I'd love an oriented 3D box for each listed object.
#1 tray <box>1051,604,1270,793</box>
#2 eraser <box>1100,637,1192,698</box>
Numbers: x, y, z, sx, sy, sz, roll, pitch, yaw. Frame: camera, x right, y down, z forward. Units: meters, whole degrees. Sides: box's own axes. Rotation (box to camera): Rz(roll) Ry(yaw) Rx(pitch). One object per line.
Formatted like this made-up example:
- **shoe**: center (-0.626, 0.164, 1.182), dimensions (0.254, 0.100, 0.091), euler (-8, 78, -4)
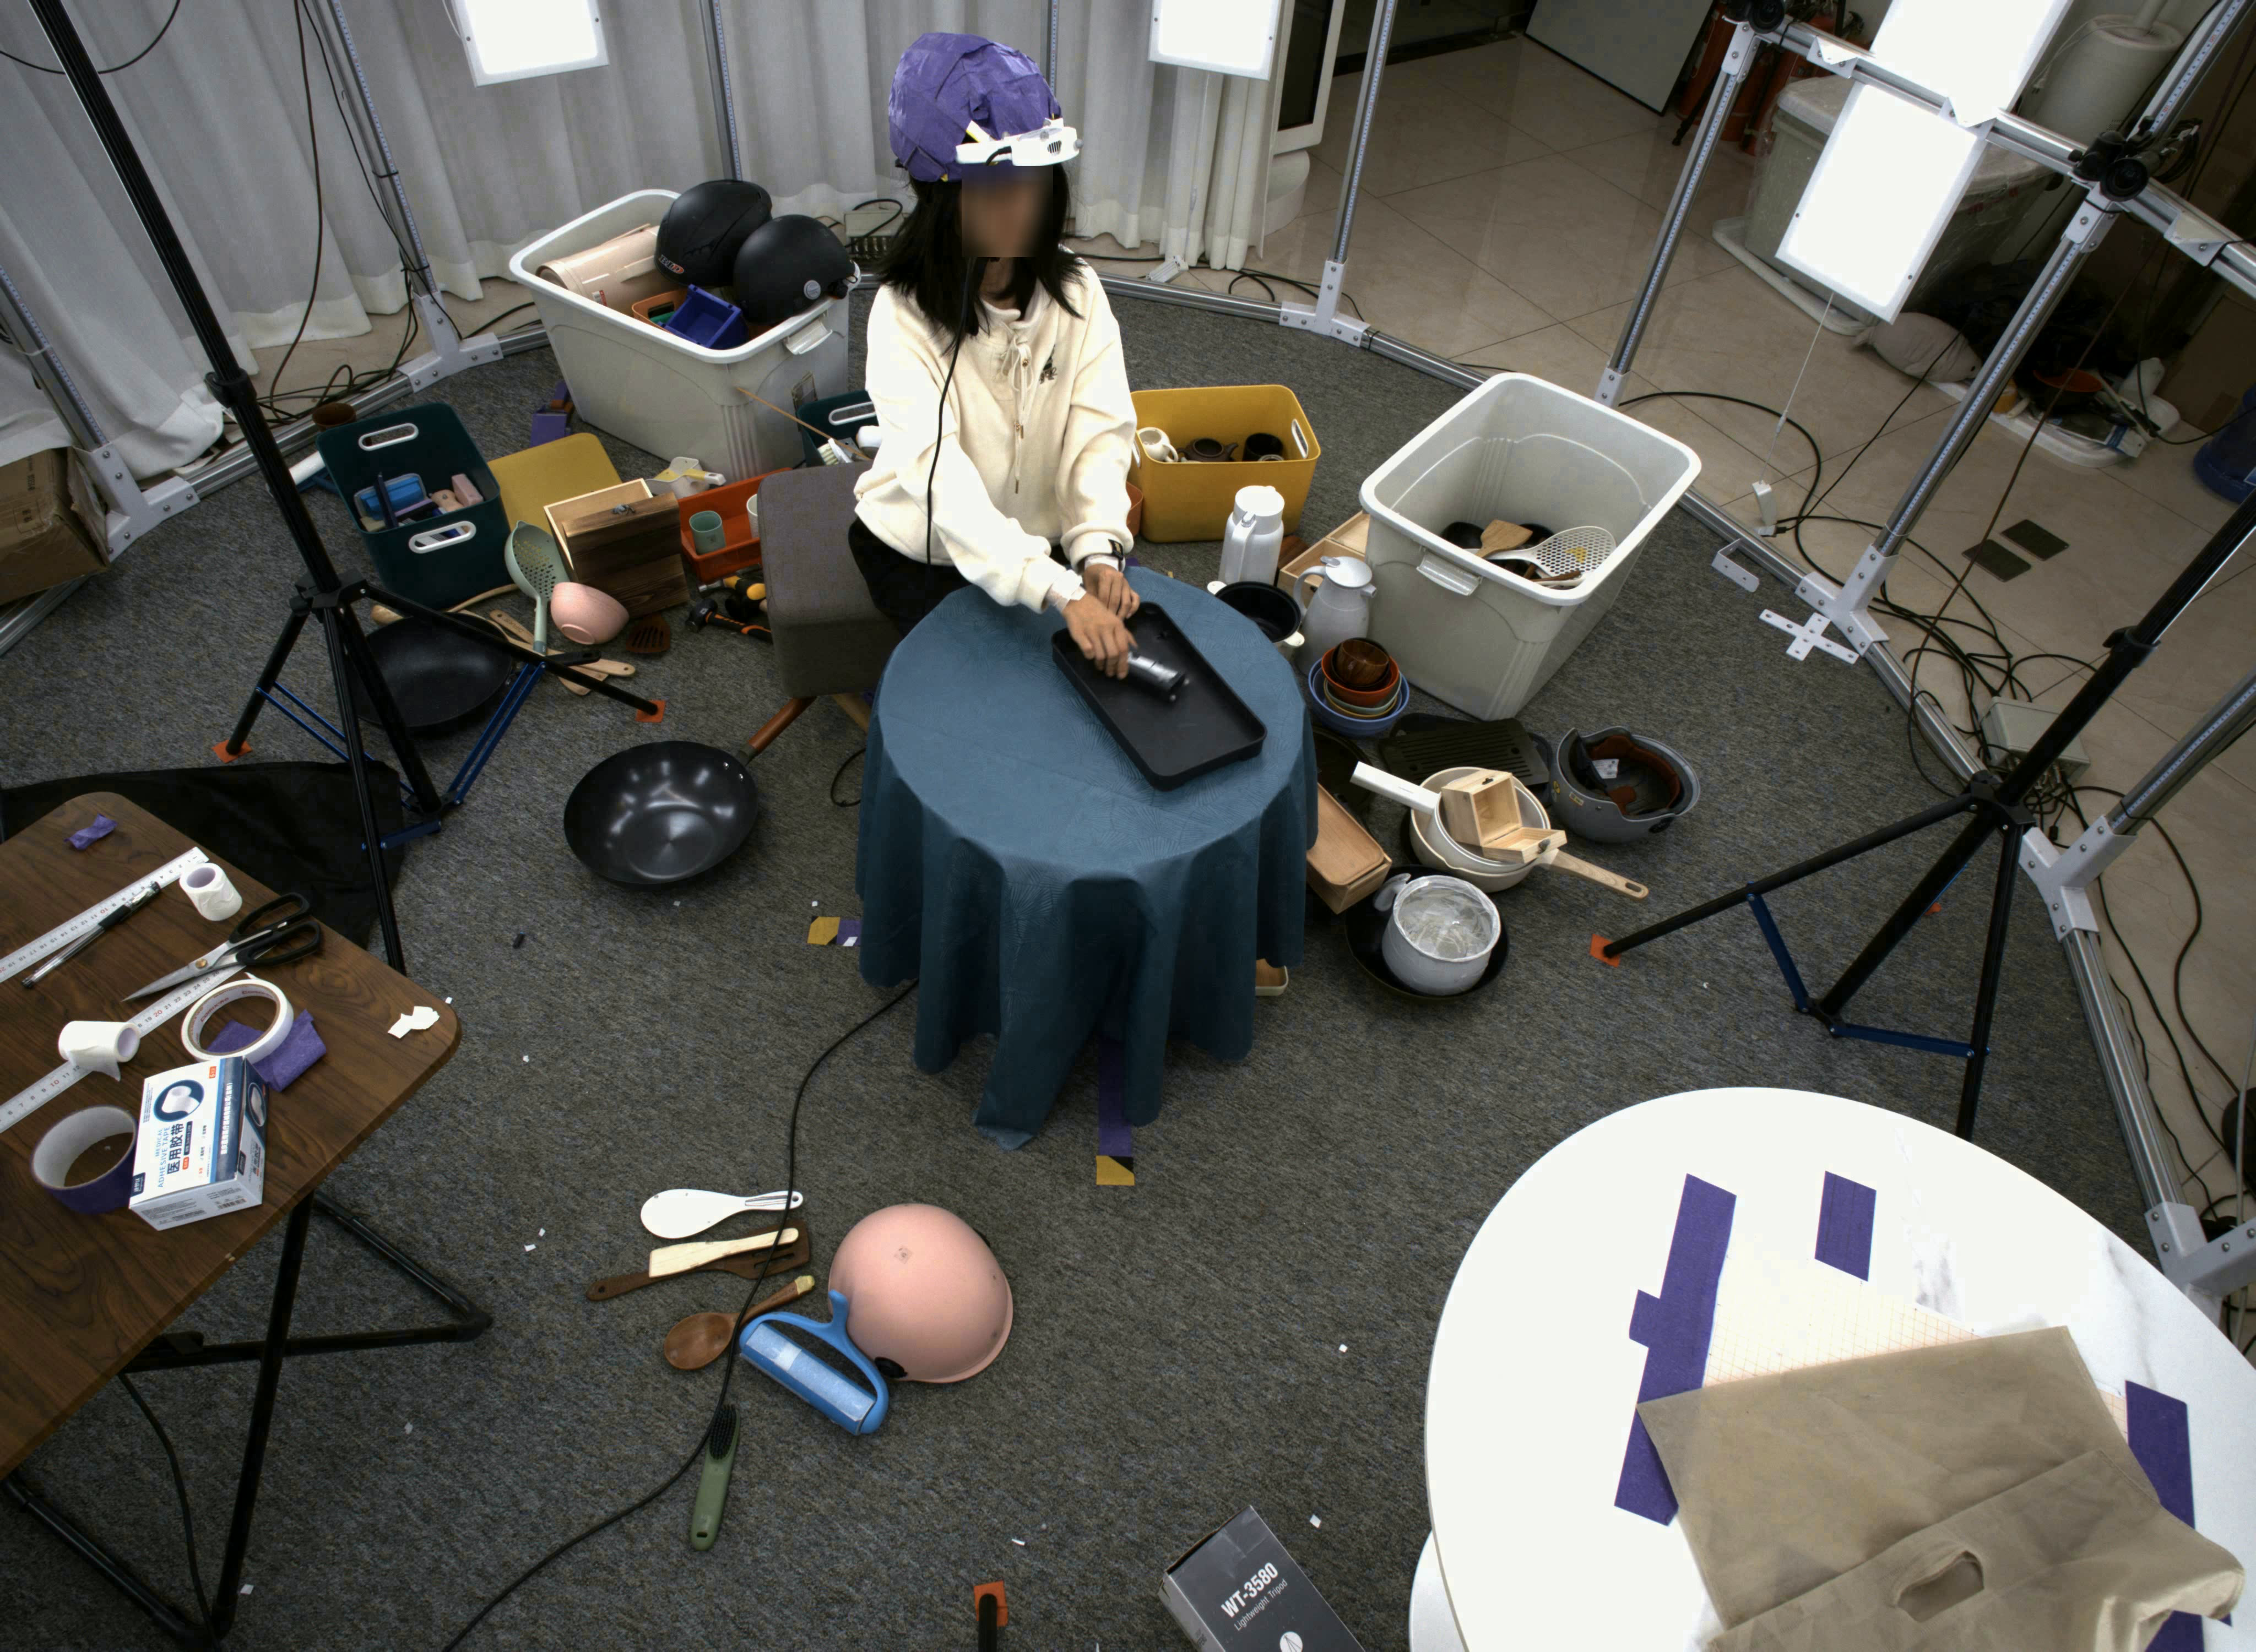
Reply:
- **tray**: center (0.041, -0.186, 1.810), dimensions (0.185, 0.036, 0.324), euler (-23, 54, -22)
- **eraser**: center (0.026, -0.229, 1.846), dimensions (0.126, 0.030, 0.054), euler (25, 46, 17)
